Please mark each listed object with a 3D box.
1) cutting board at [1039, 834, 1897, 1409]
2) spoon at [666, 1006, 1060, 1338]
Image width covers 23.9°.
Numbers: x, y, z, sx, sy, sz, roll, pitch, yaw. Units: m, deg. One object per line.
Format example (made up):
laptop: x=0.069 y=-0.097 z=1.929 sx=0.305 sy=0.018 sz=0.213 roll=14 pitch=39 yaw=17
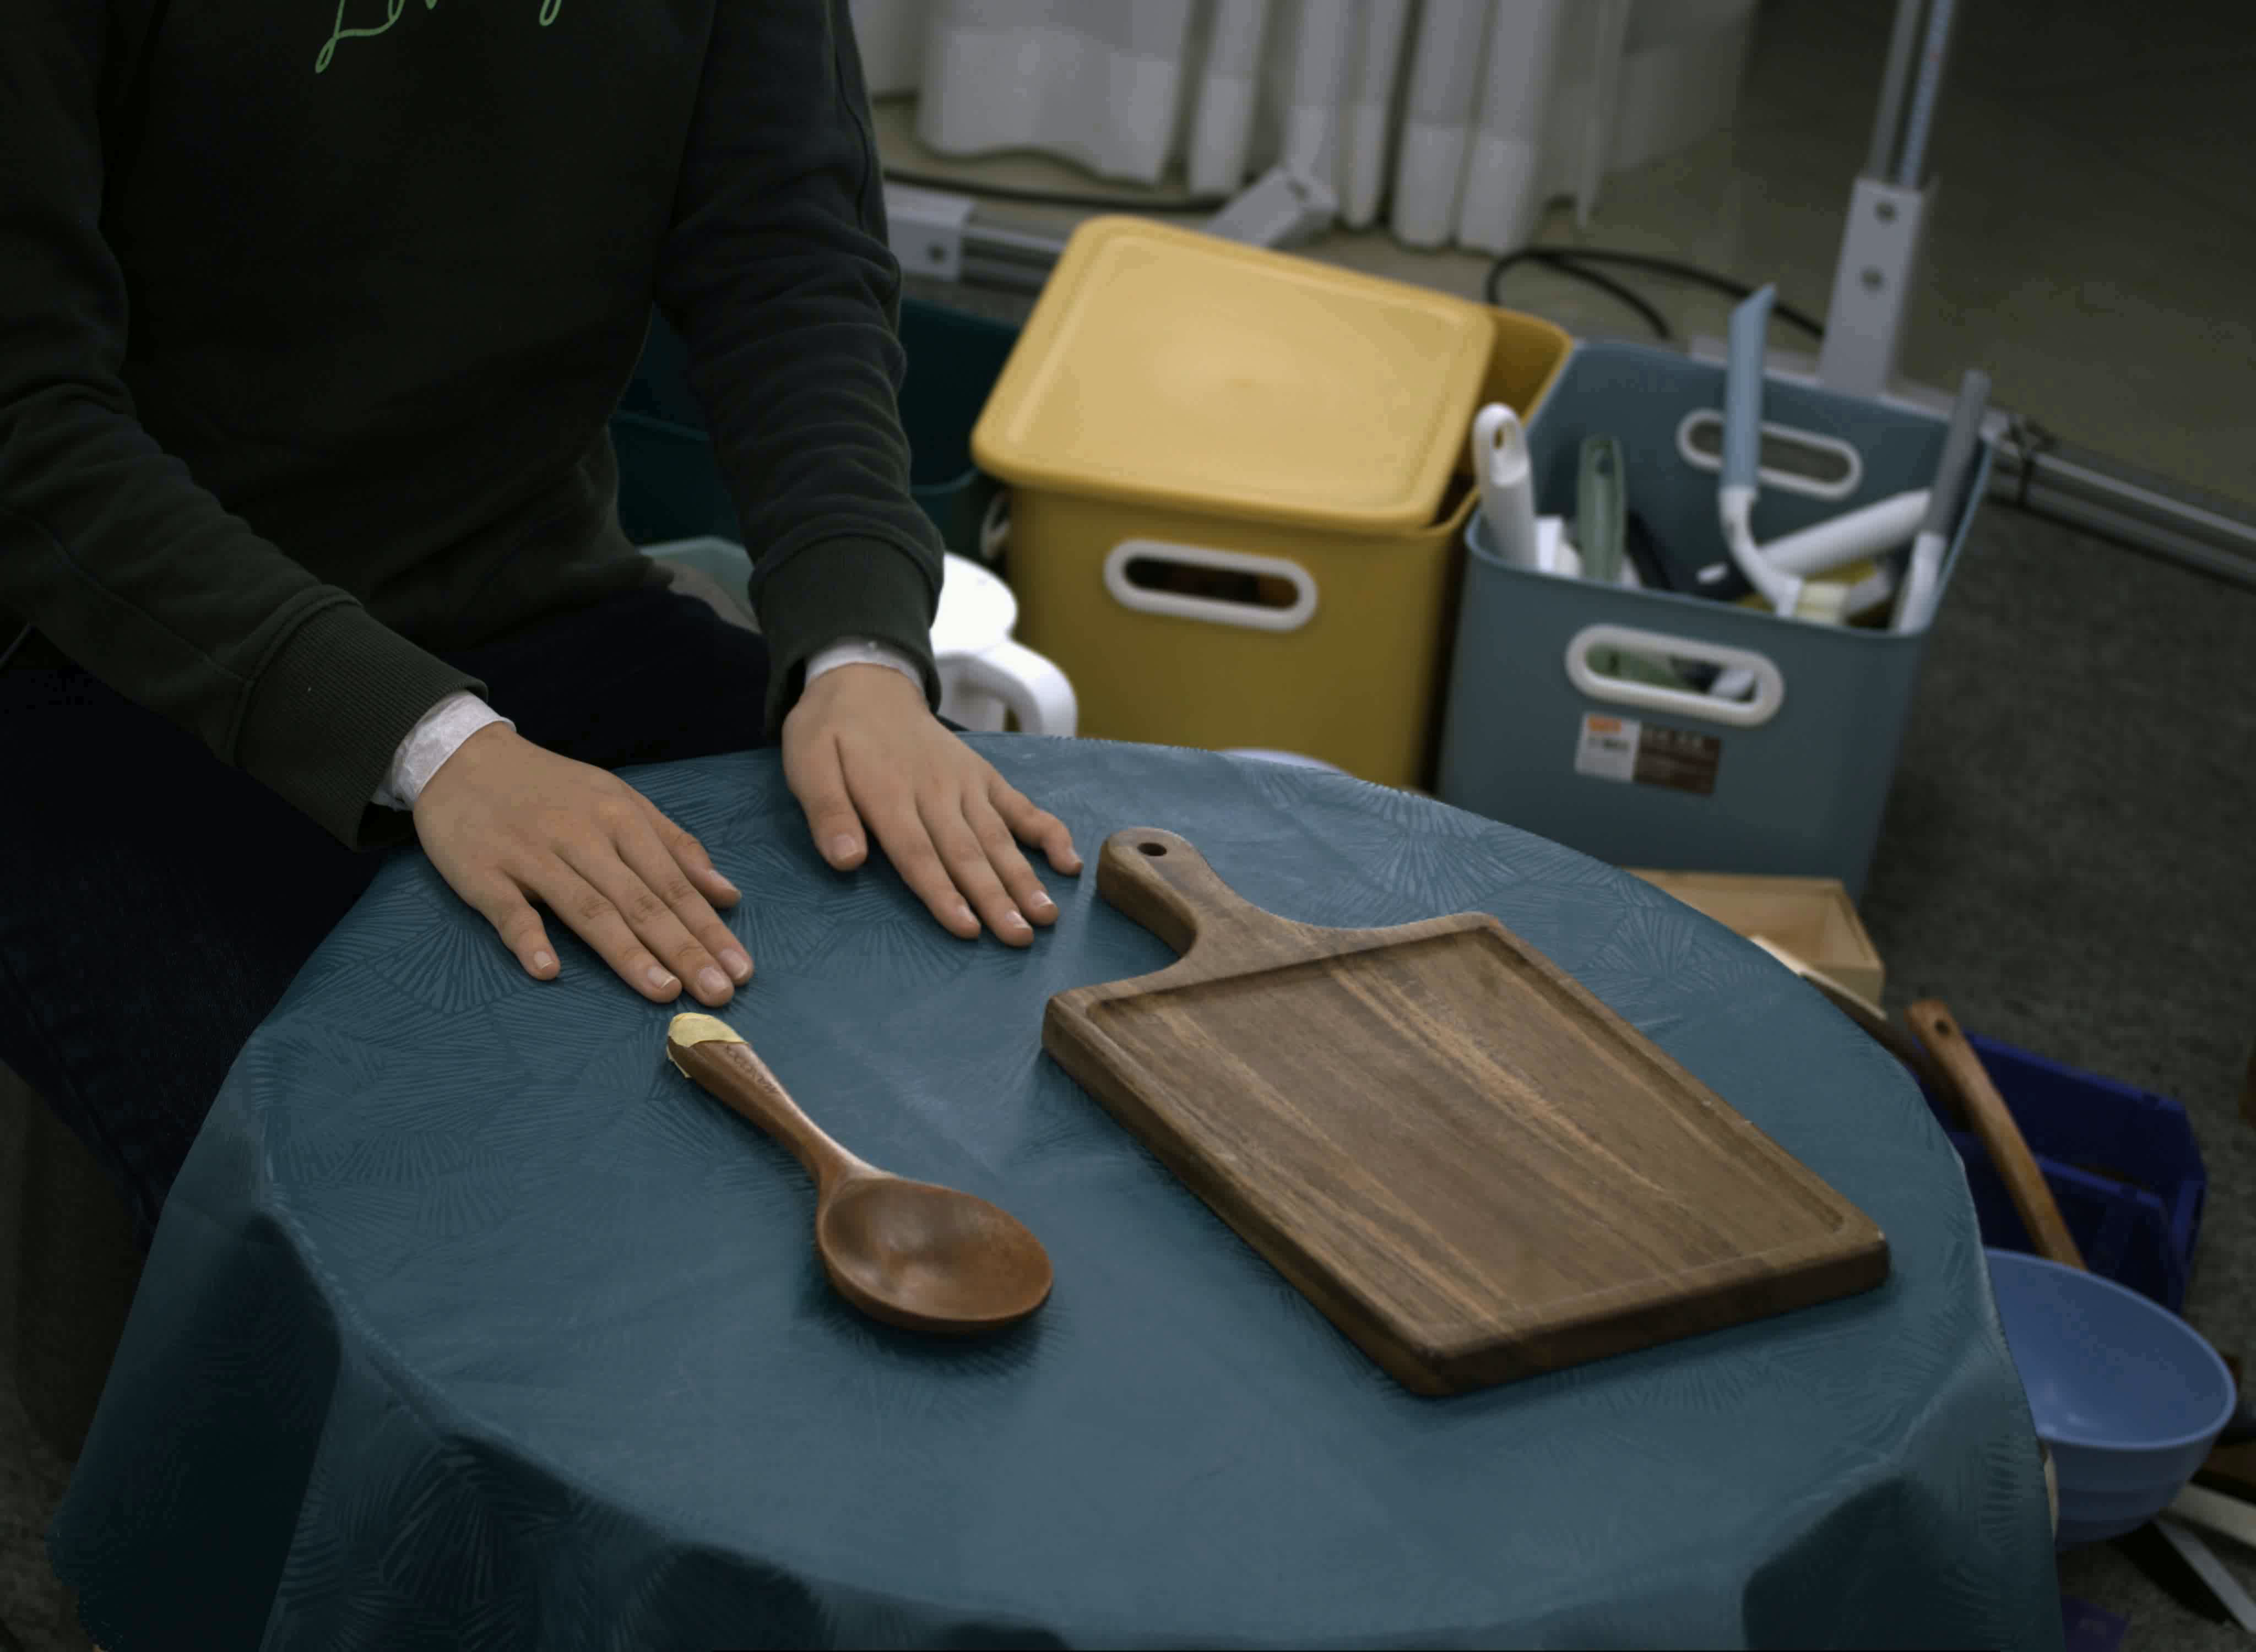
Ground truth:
cutting board: x=0.089 y=0.088 z=1.872 sx=0.200 sy=0.023 sz=0.355 roll=-11 pitch=31 yaw=-29
spoon: x=-0.096 y=0.115 z=1.775 sx=0.075 sy=0.017 sz=0.218 roll=-13 pitch=33 yaw=-30
